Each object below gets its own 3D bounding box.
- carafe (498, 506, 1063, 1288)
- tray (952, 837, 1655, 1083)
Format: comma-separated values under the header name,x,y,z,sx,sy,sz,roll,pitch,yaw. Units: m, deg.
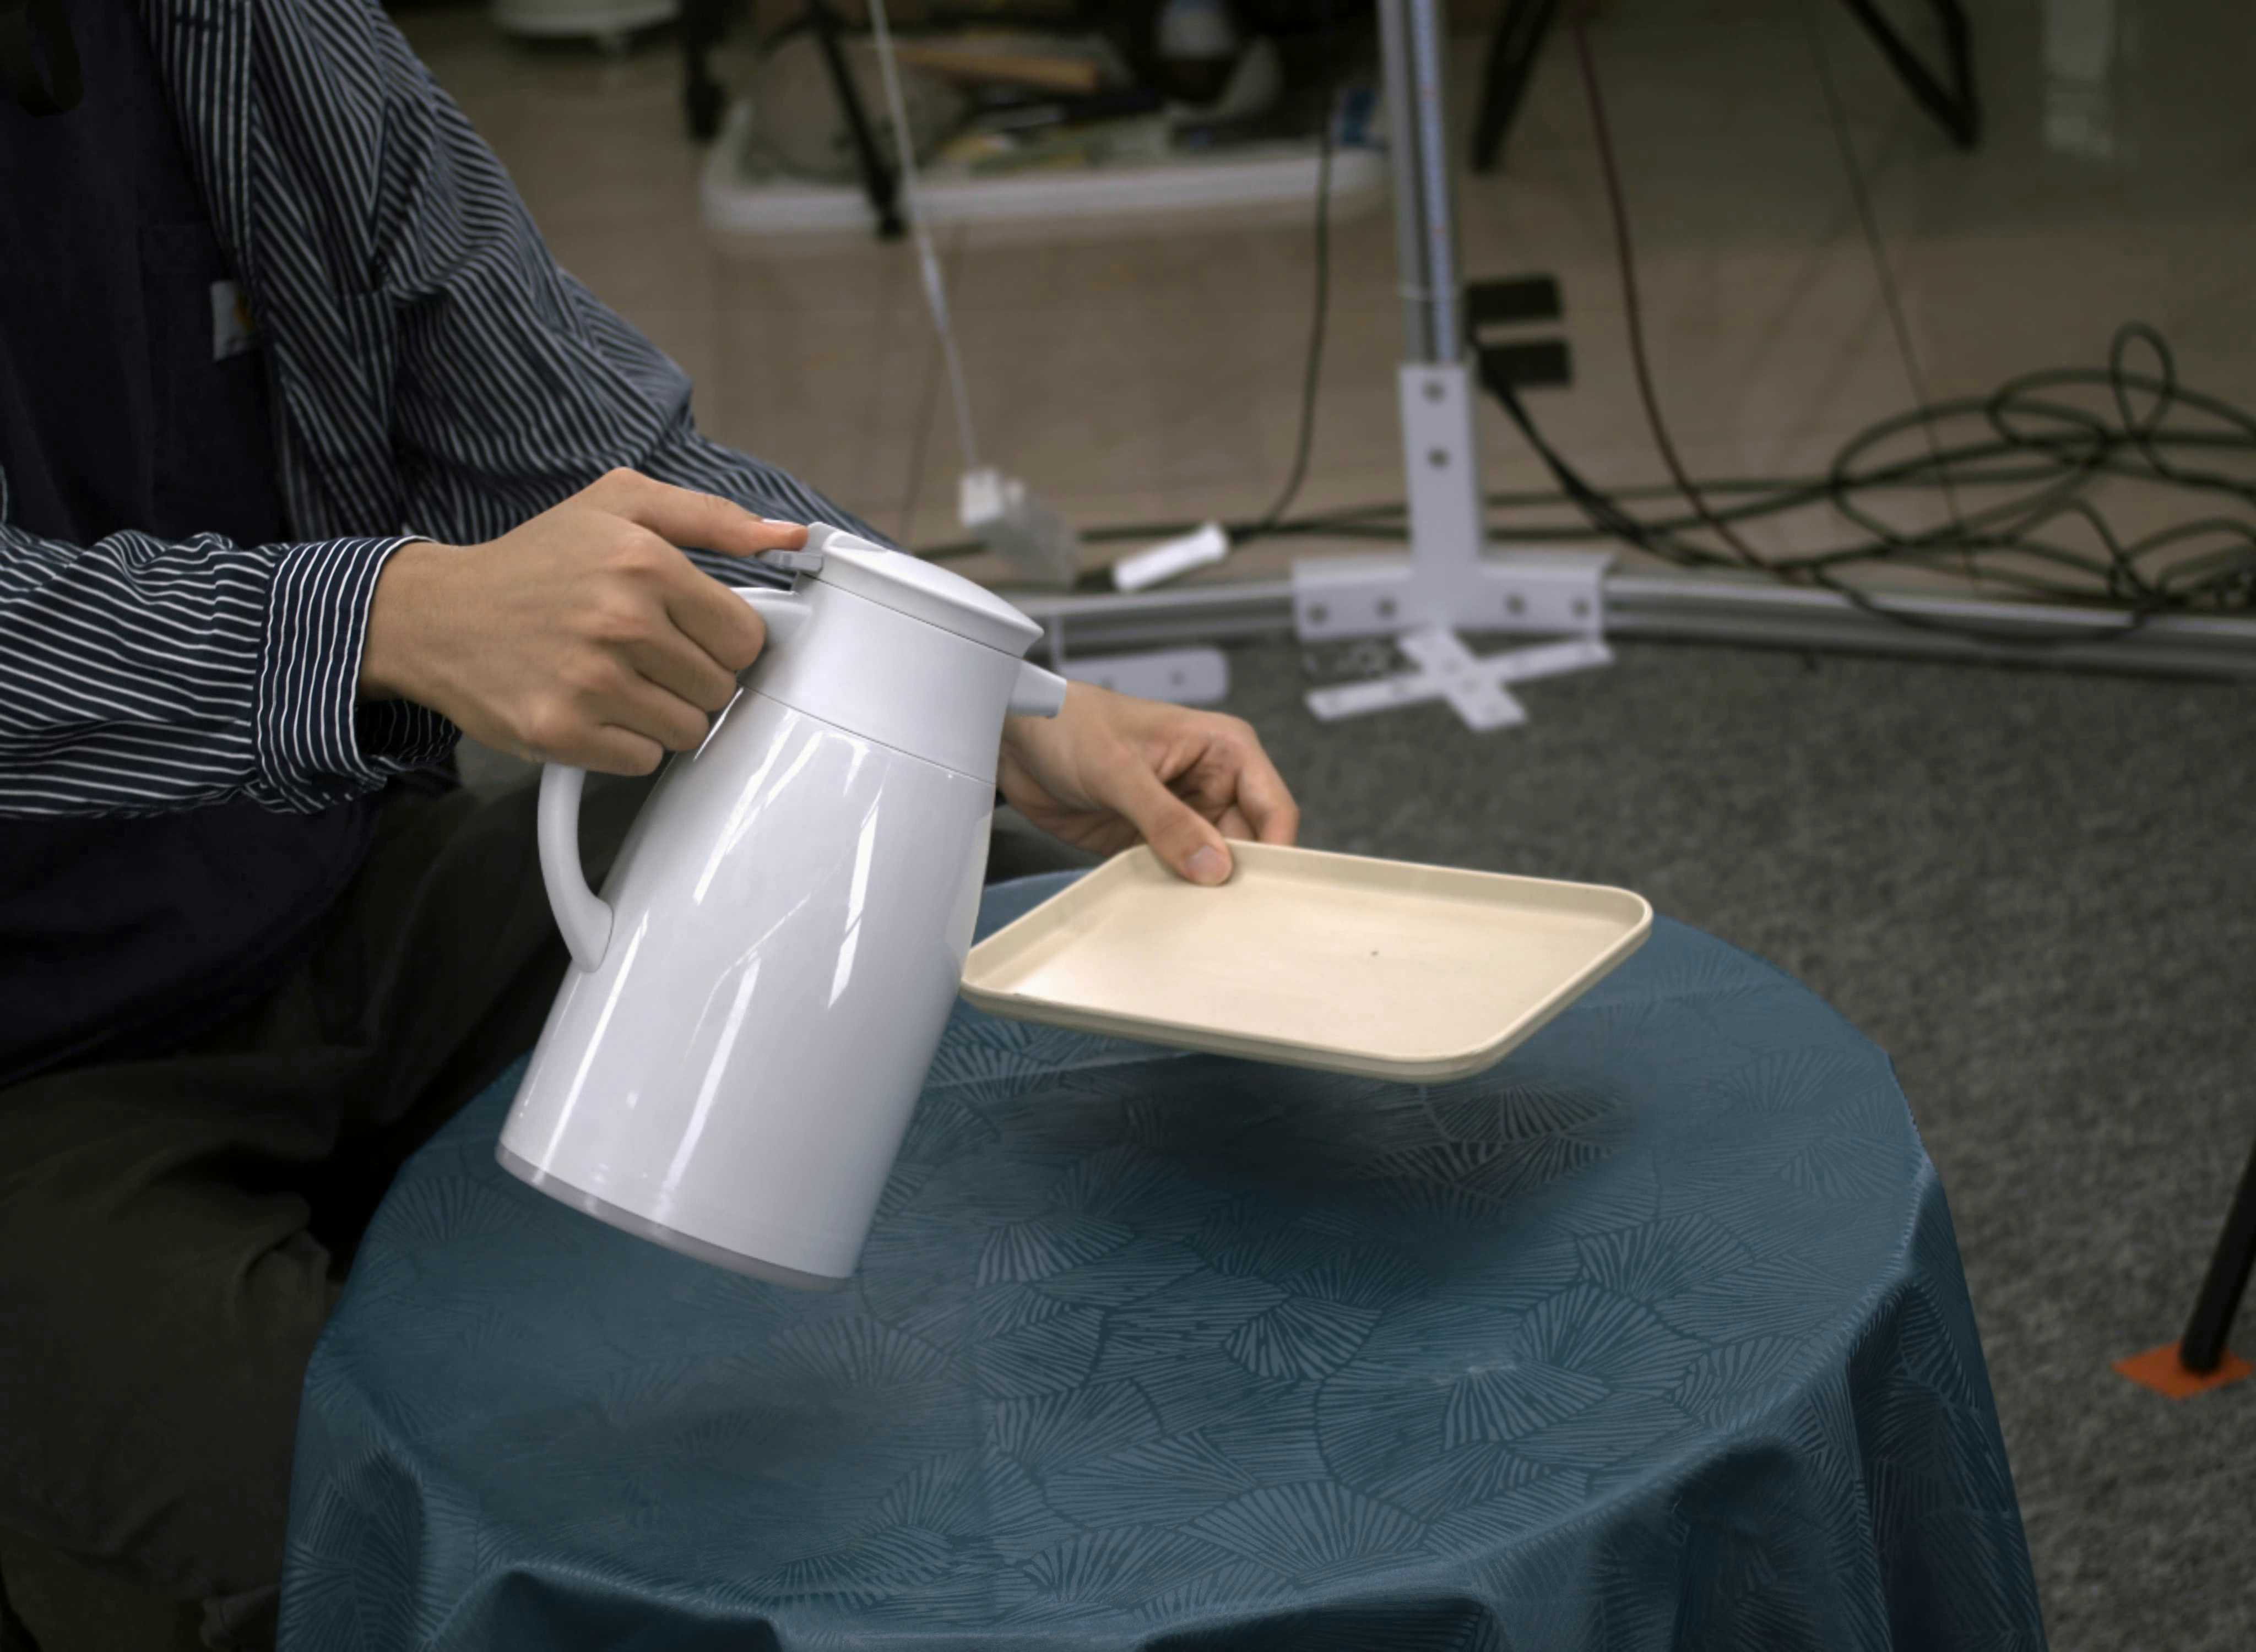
name,x,y,z,sx,sy,sz,roll,pitch,yaw
carafe,-0.129,0.016,1.960,0.168,0.249,0.131,19,5,-30
tray,0.066,0.050,2.149,0.238,0.018,0.169,8,24,32
